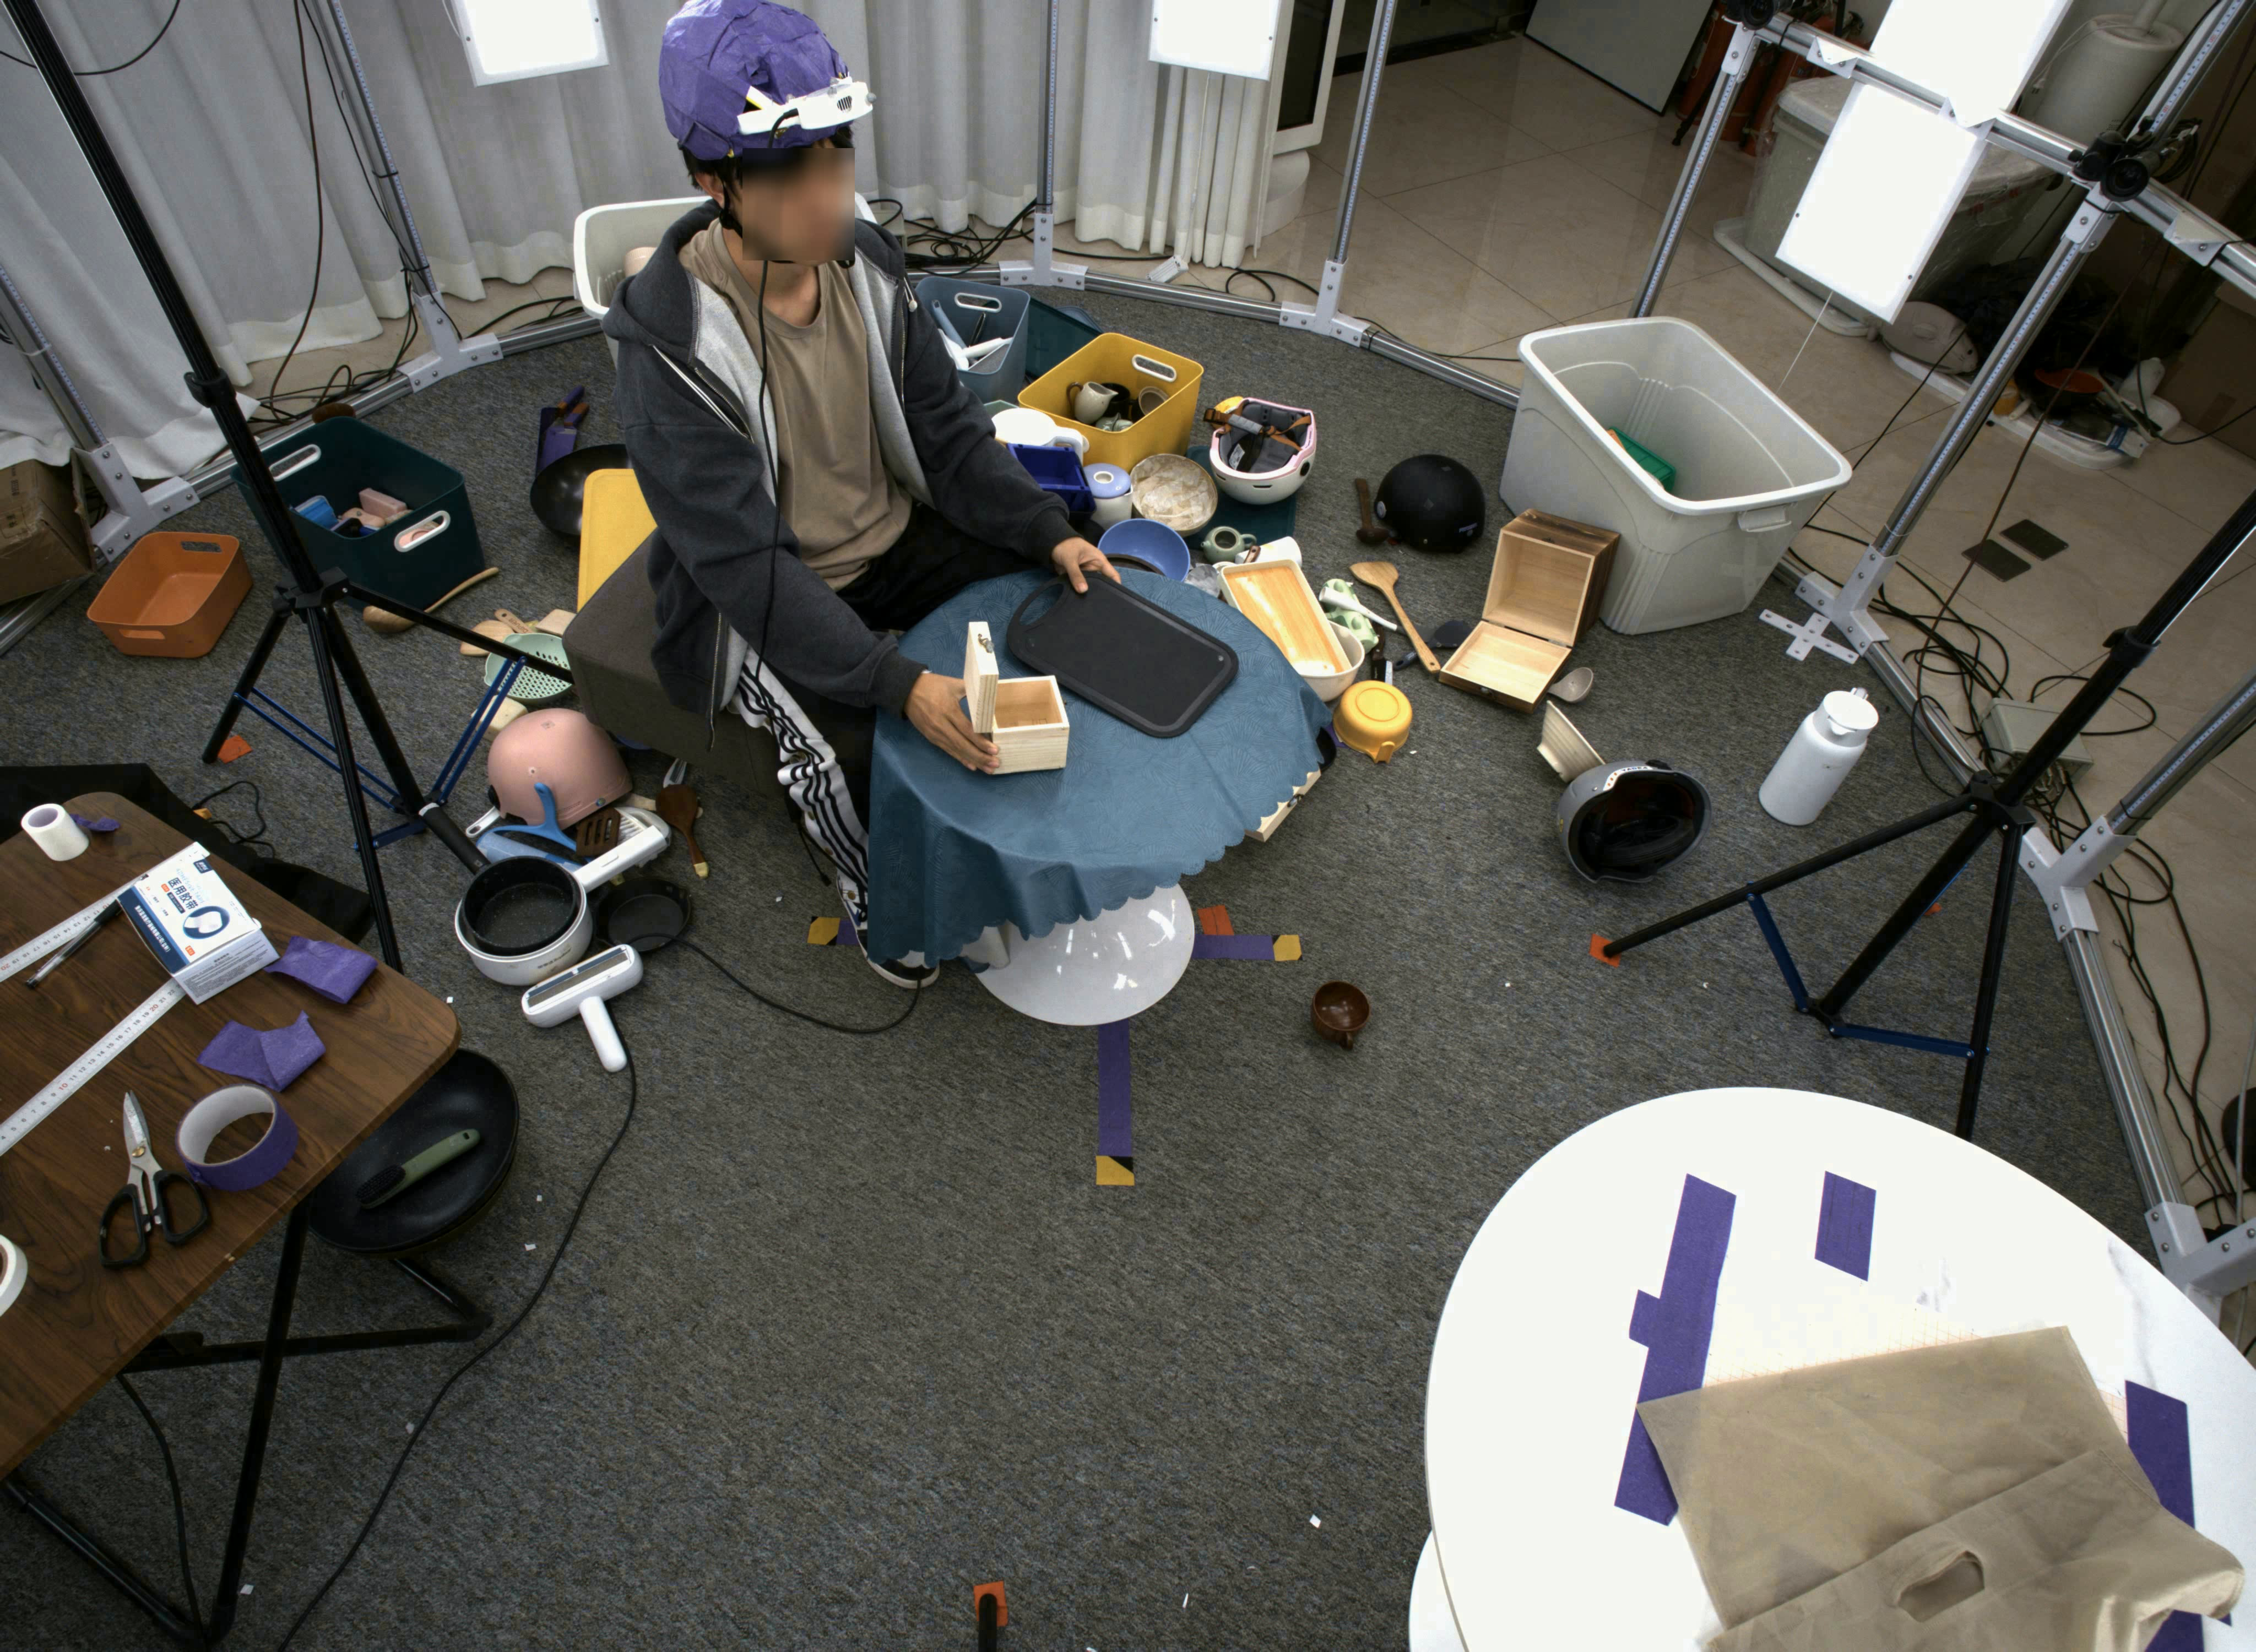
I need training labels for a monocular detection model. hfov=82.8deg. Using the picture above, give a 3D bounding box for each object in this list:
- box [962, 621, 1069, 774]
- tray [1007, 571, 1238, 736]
[{"bbox_3d":[-0.144,-0.171,1.678,0.134,0.180,0.105,-7,48,-12],"label":"box"},{"bbox_3d":[-0.015,-0.260,1.865,0.328,0.009,0.214,32,58,17],"label":"tray"}]
